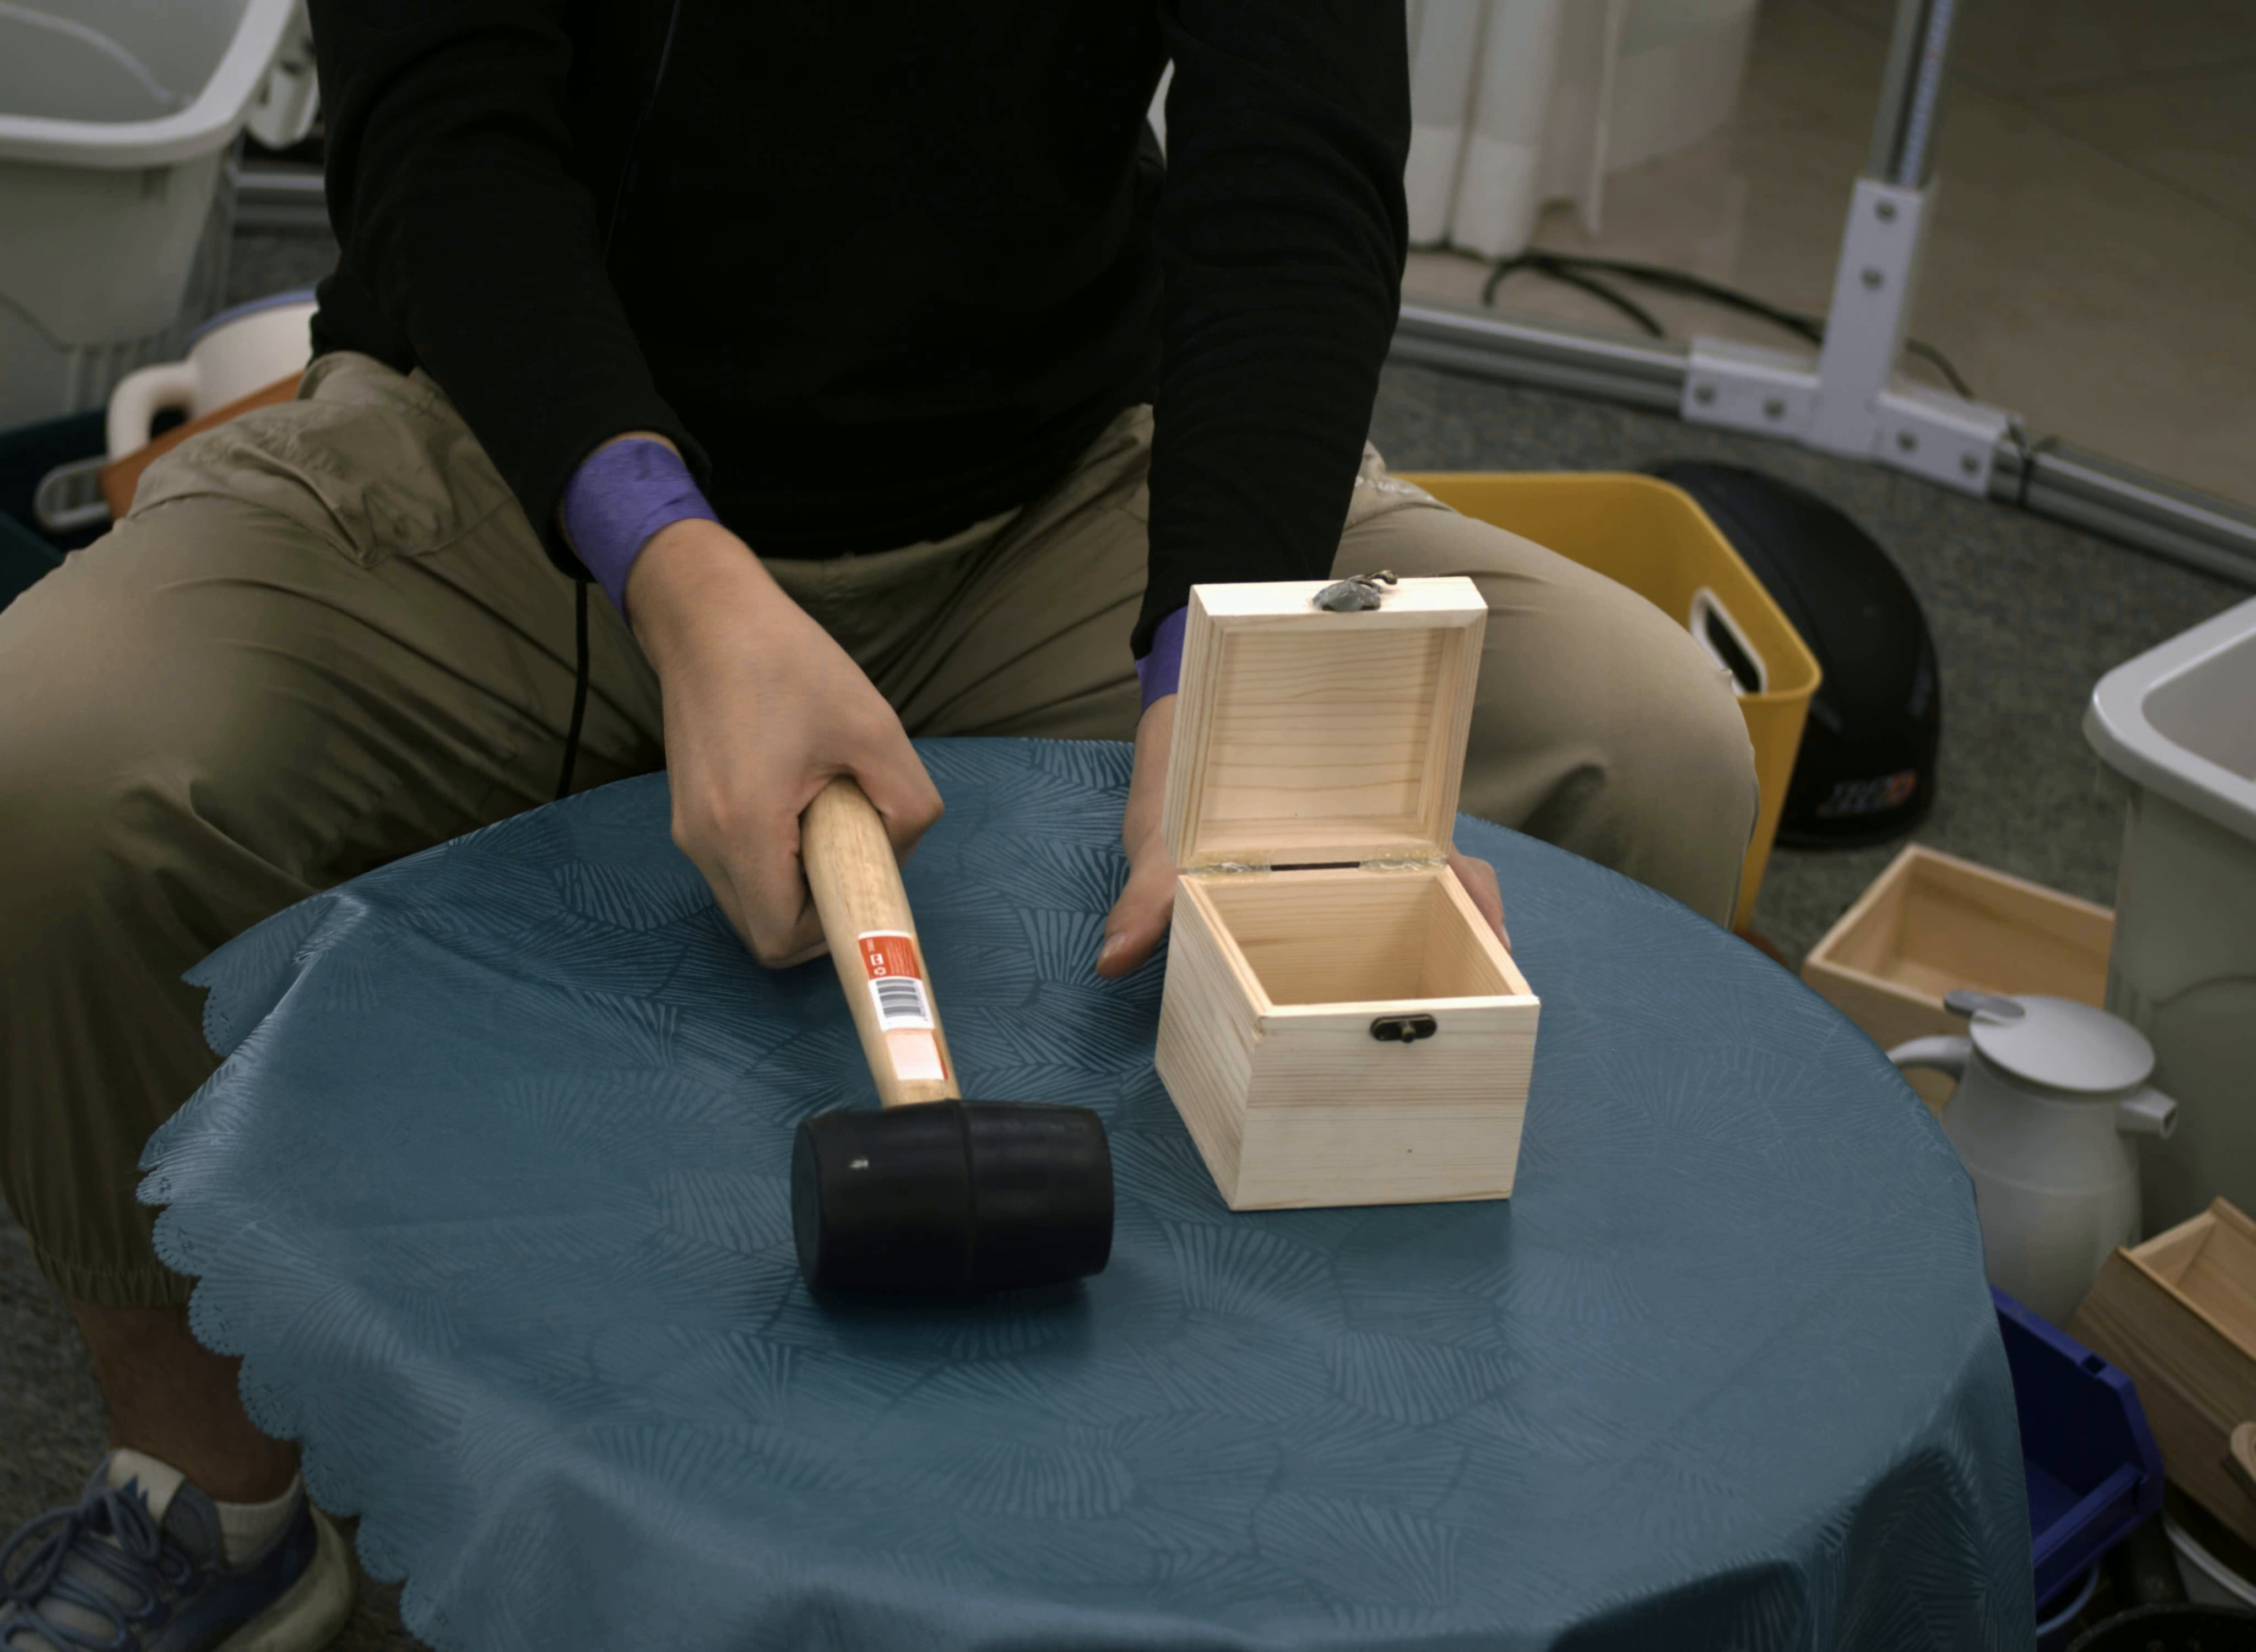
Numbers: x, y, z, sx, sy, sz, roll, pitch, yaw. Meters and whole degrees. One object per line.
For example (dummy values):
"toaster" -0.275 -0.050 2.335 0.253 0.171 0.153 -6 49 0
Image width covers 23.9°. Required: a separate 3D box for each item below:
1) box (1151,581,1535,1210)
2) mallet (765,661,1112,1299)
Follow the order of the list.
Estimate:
"box" 0.076 0.022 1.824 0.102 0.184 0.135 0 25 -16
"mallet" -0.085 0.038 1.835 0.101 0.064 0.342 2 36 -15
